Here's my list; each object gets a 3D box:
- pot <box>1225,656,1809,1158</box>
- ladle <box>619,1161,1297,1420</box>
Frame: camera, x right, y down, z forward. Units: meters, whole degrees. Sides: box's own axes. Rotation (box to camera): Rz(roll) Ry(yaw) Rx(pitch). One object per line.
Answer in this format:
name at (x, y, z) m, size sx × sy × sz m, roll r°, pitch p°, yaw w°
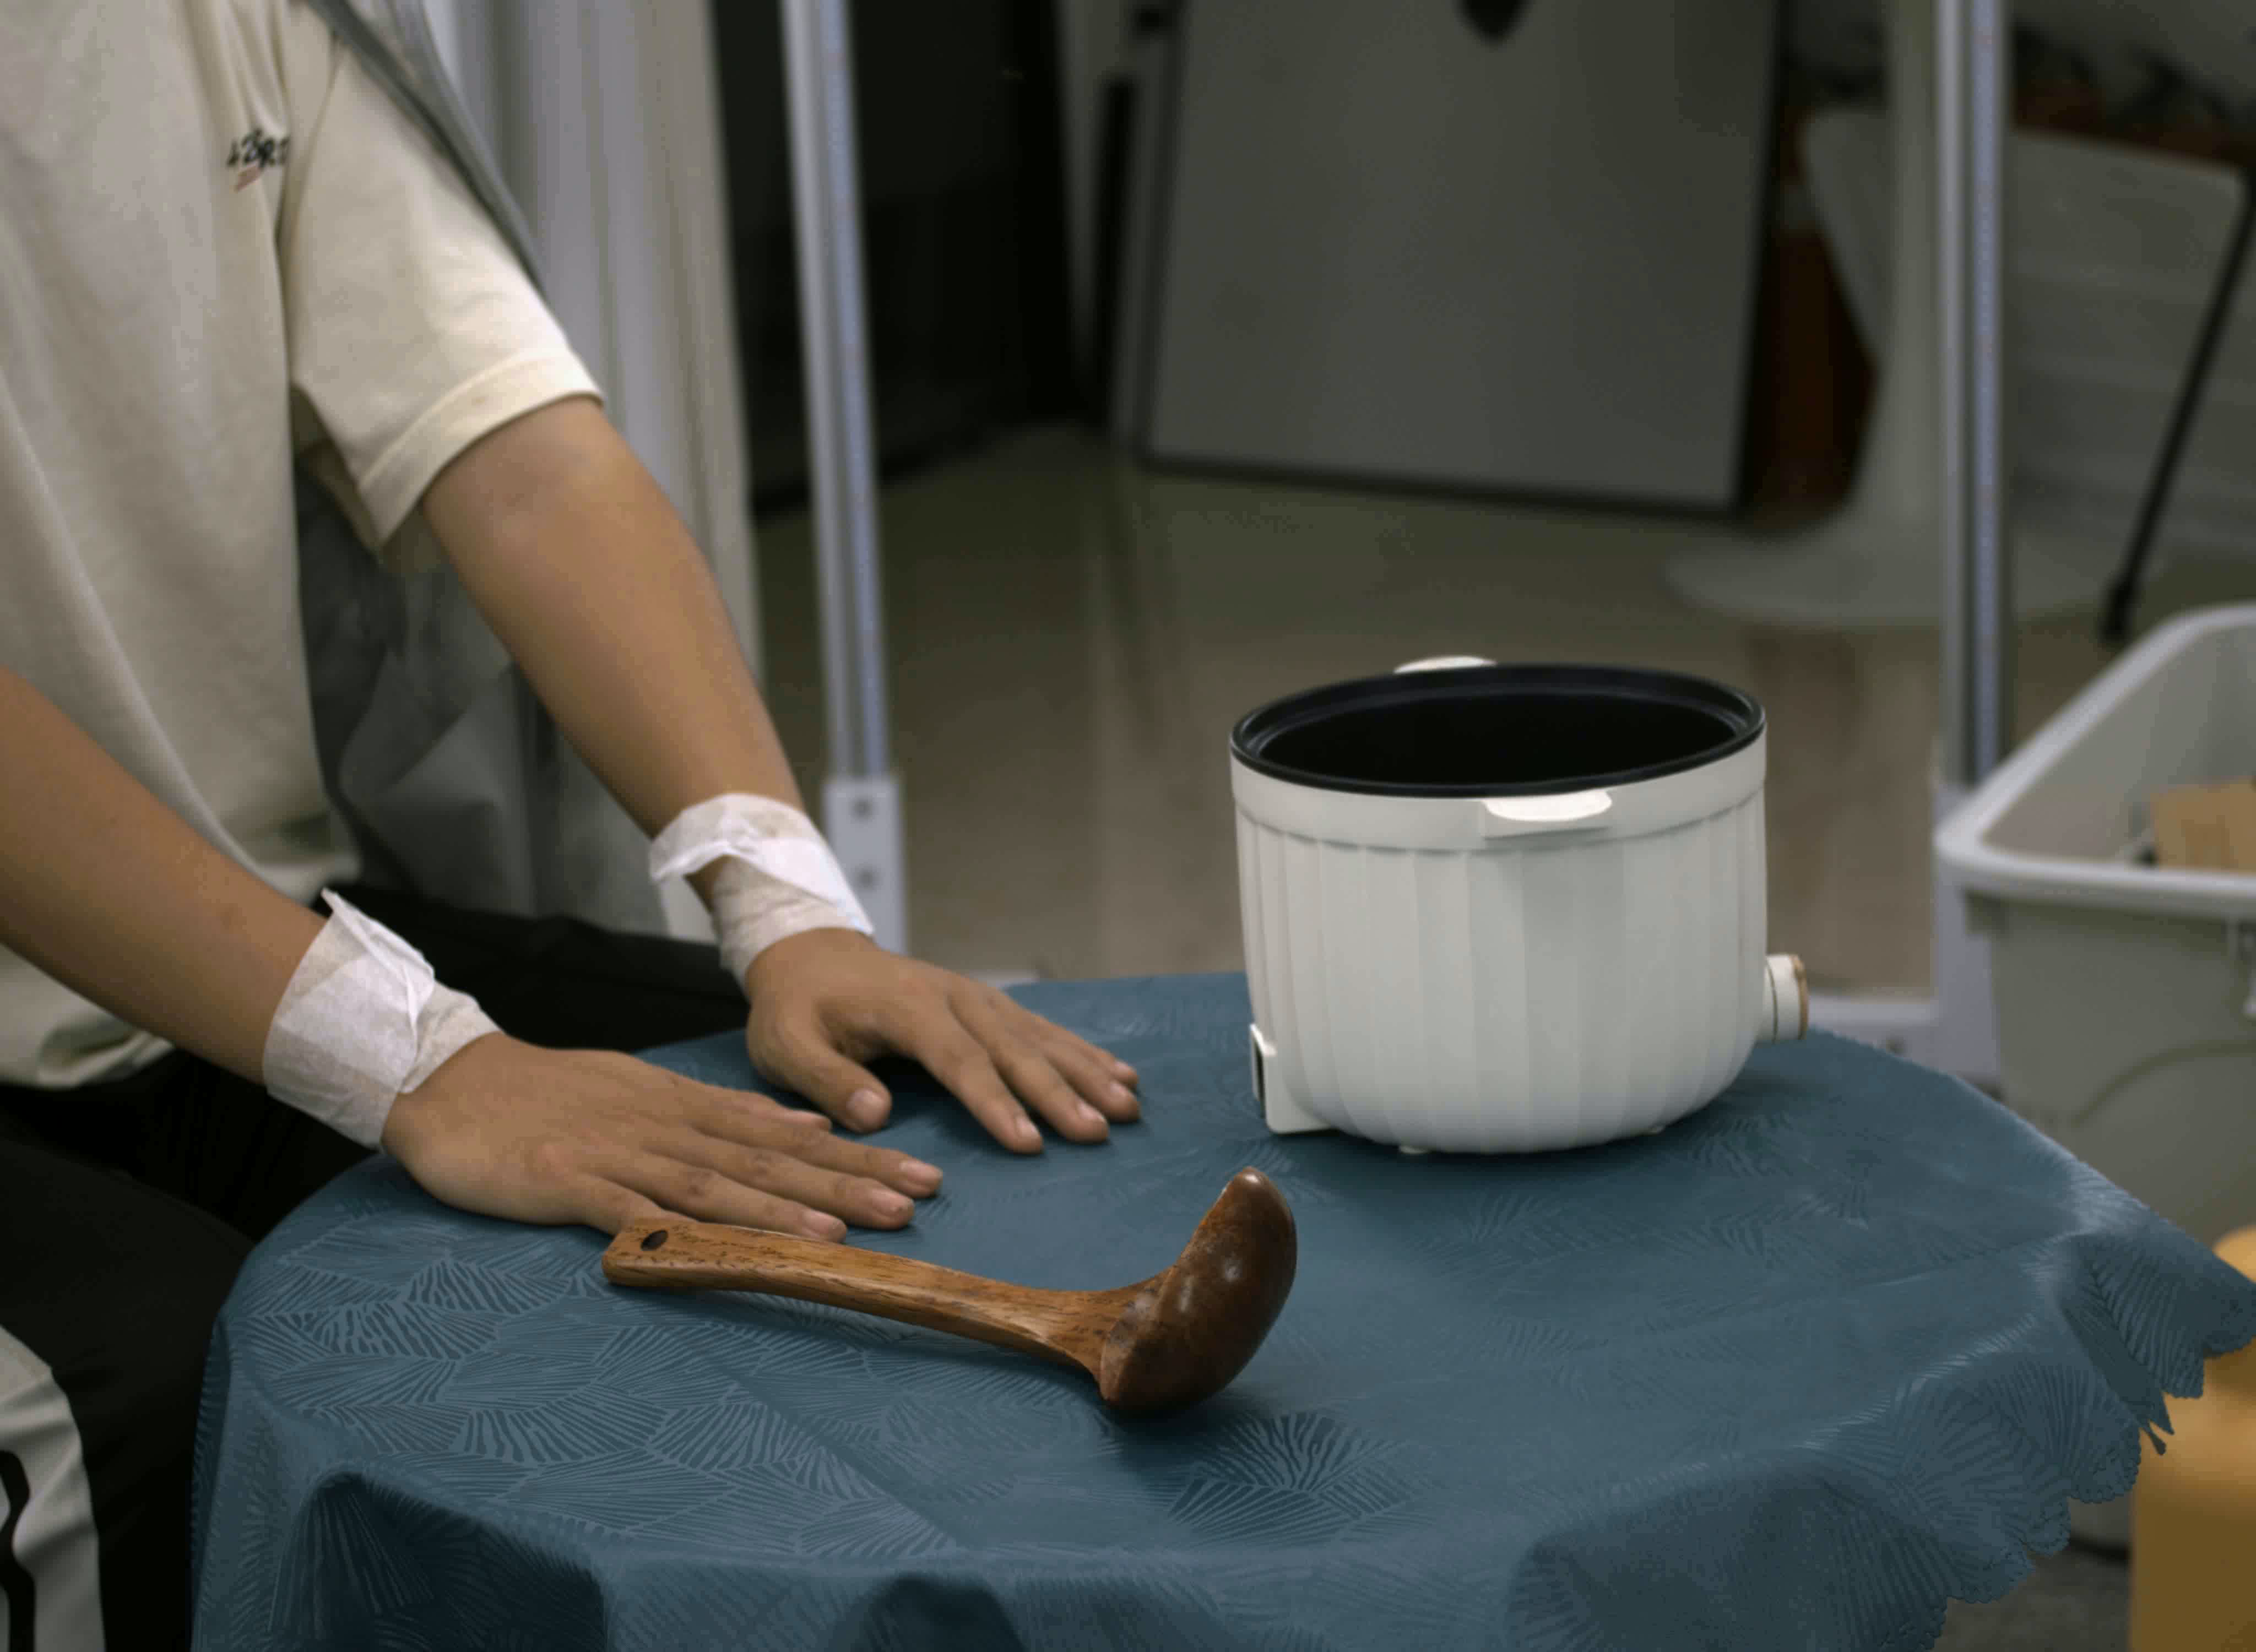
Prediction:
pot at (0.132, 0.028, 1.822) m, size 0.188 × 0.144 × 0.241 m, roll -9°, pitch 15°, yaw -4°
ladle at (-0.063, 0.125, 1.622) m, size 0.276 × 0.076 × 0.081 m, roll 9°, pitch 43°, yaw 39°
